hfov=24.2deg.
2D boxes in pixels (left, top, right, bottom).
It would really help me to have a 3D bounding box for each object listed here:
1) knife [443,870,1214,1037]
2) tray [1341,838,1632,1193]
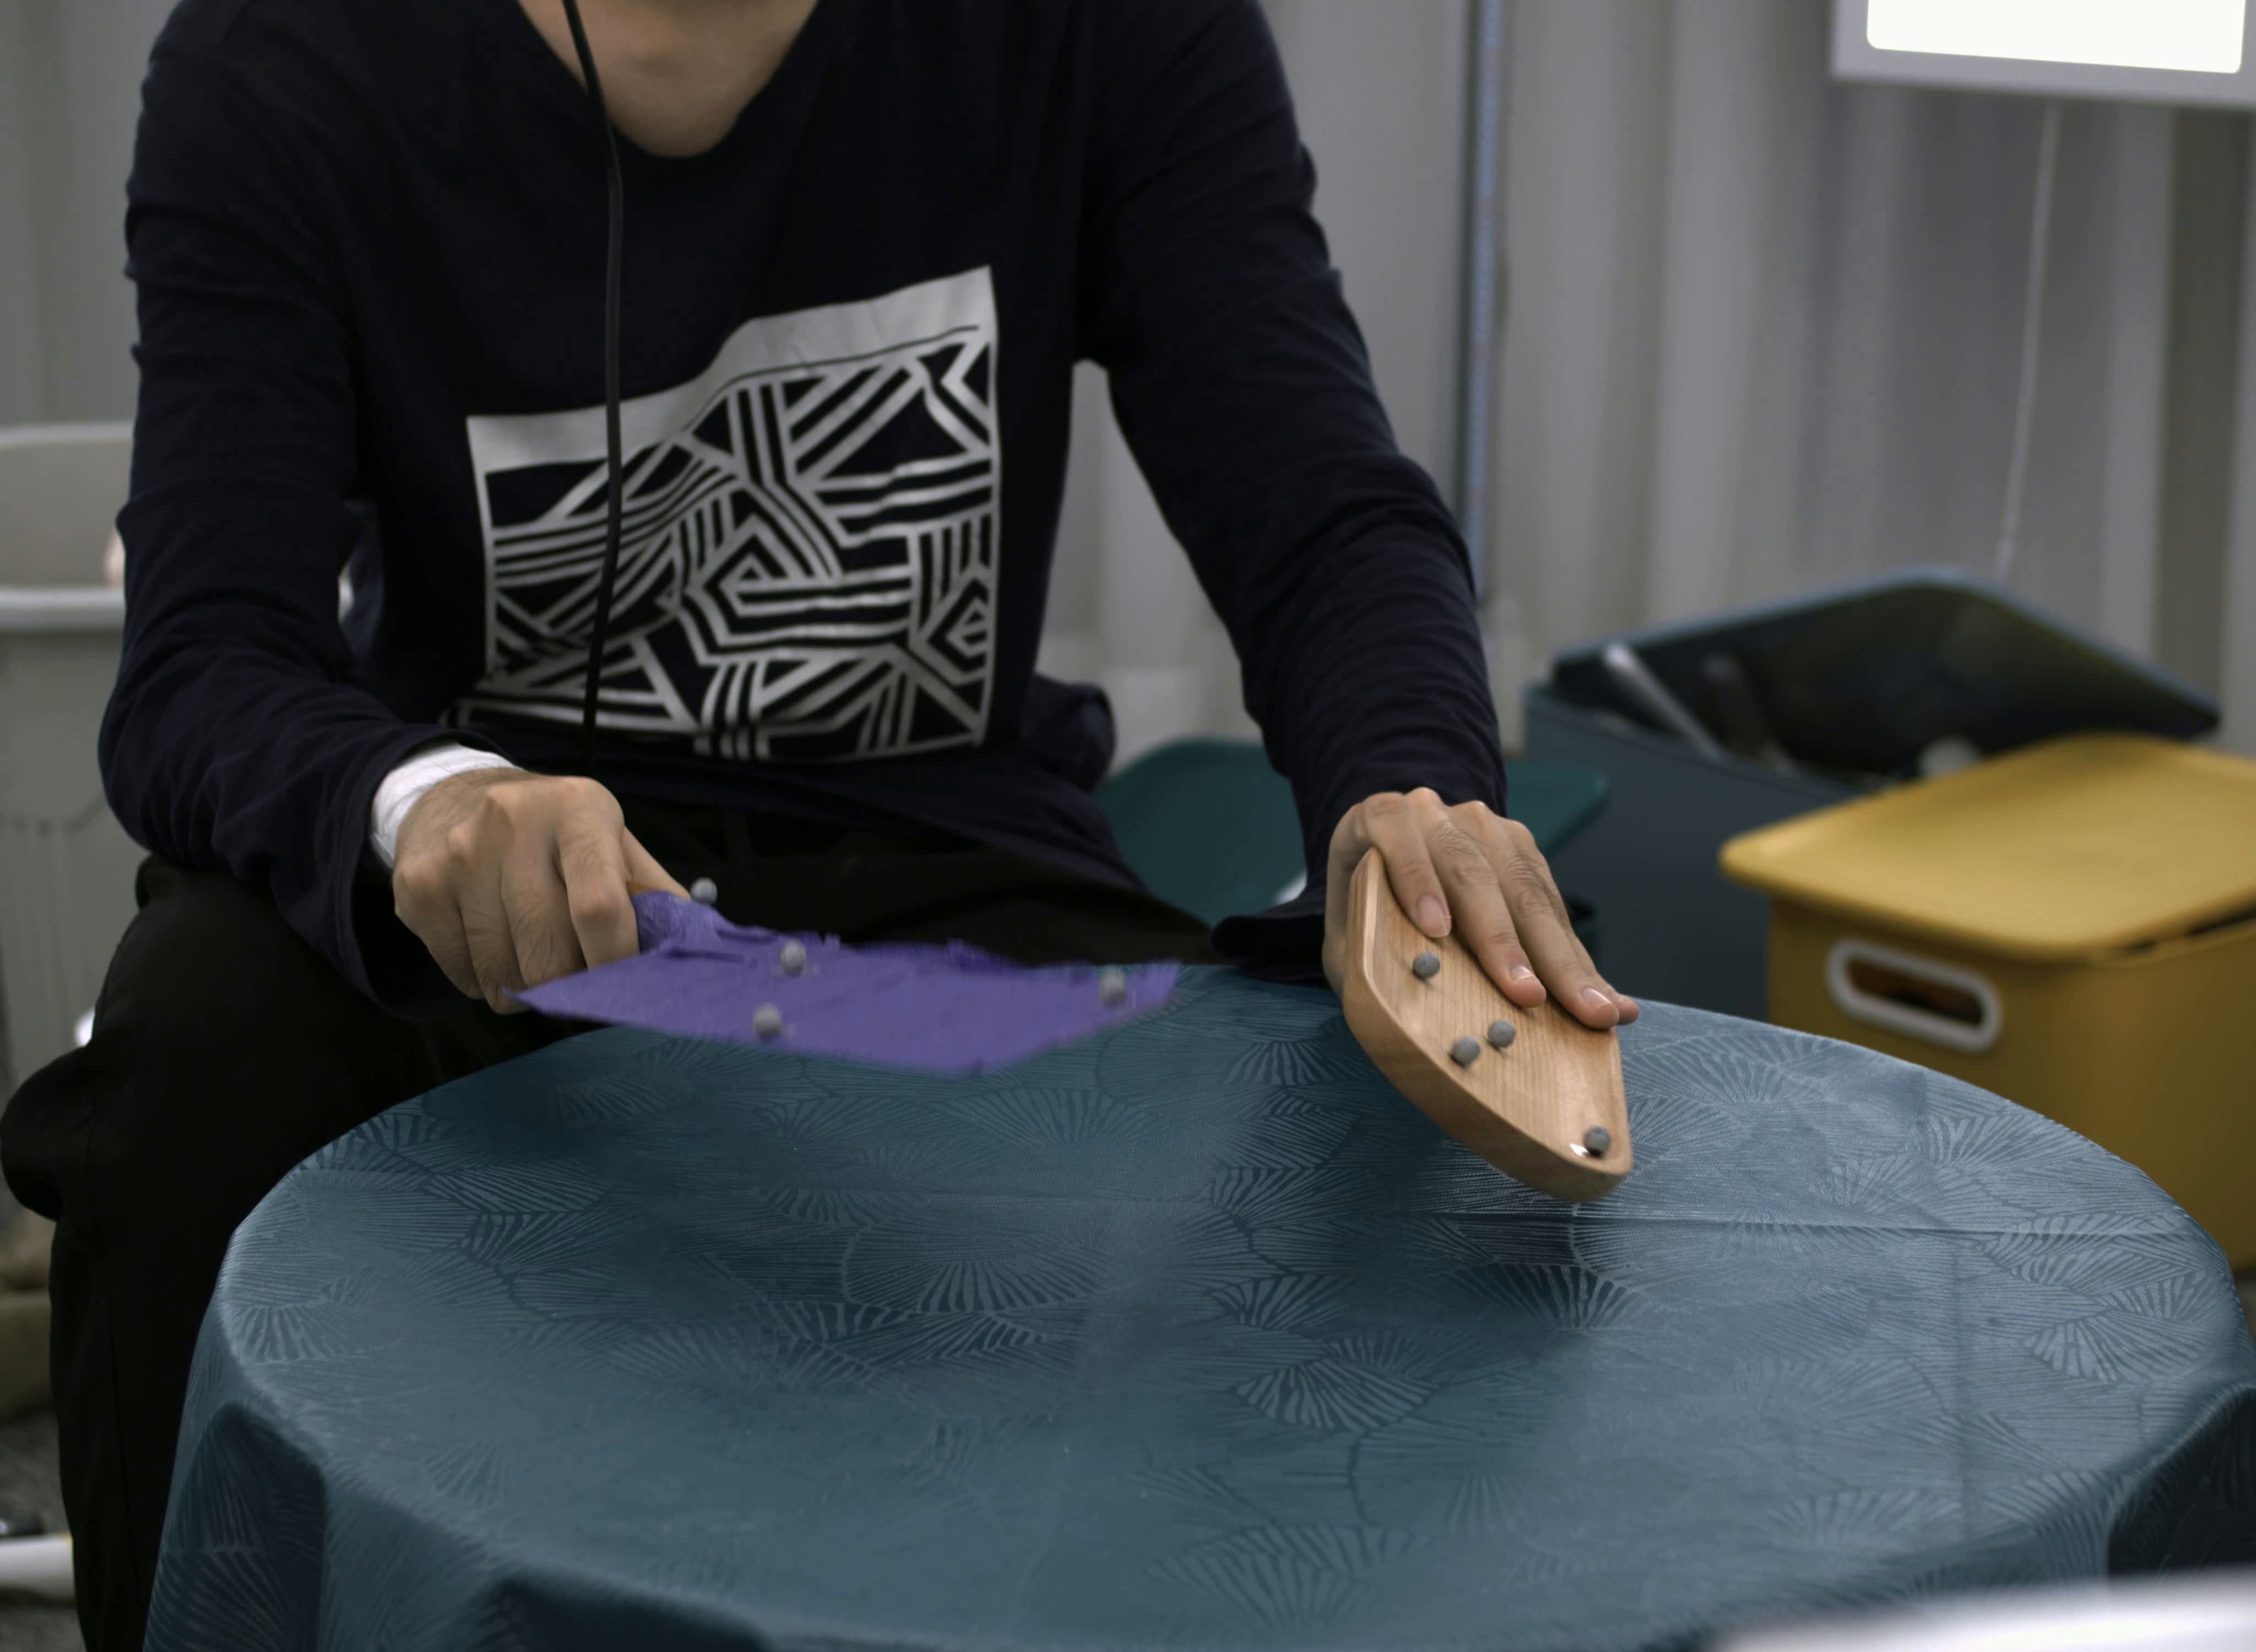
[{"bbox_3d":[-0.120,0.038,1.561,0.311,0.032,0.104,1,12,44],"label":"knife"},{"bbox_3d":[0.107,0.057,1.614,0.102,0.020,0.230,38,11,-6],"label":"tray"}]
